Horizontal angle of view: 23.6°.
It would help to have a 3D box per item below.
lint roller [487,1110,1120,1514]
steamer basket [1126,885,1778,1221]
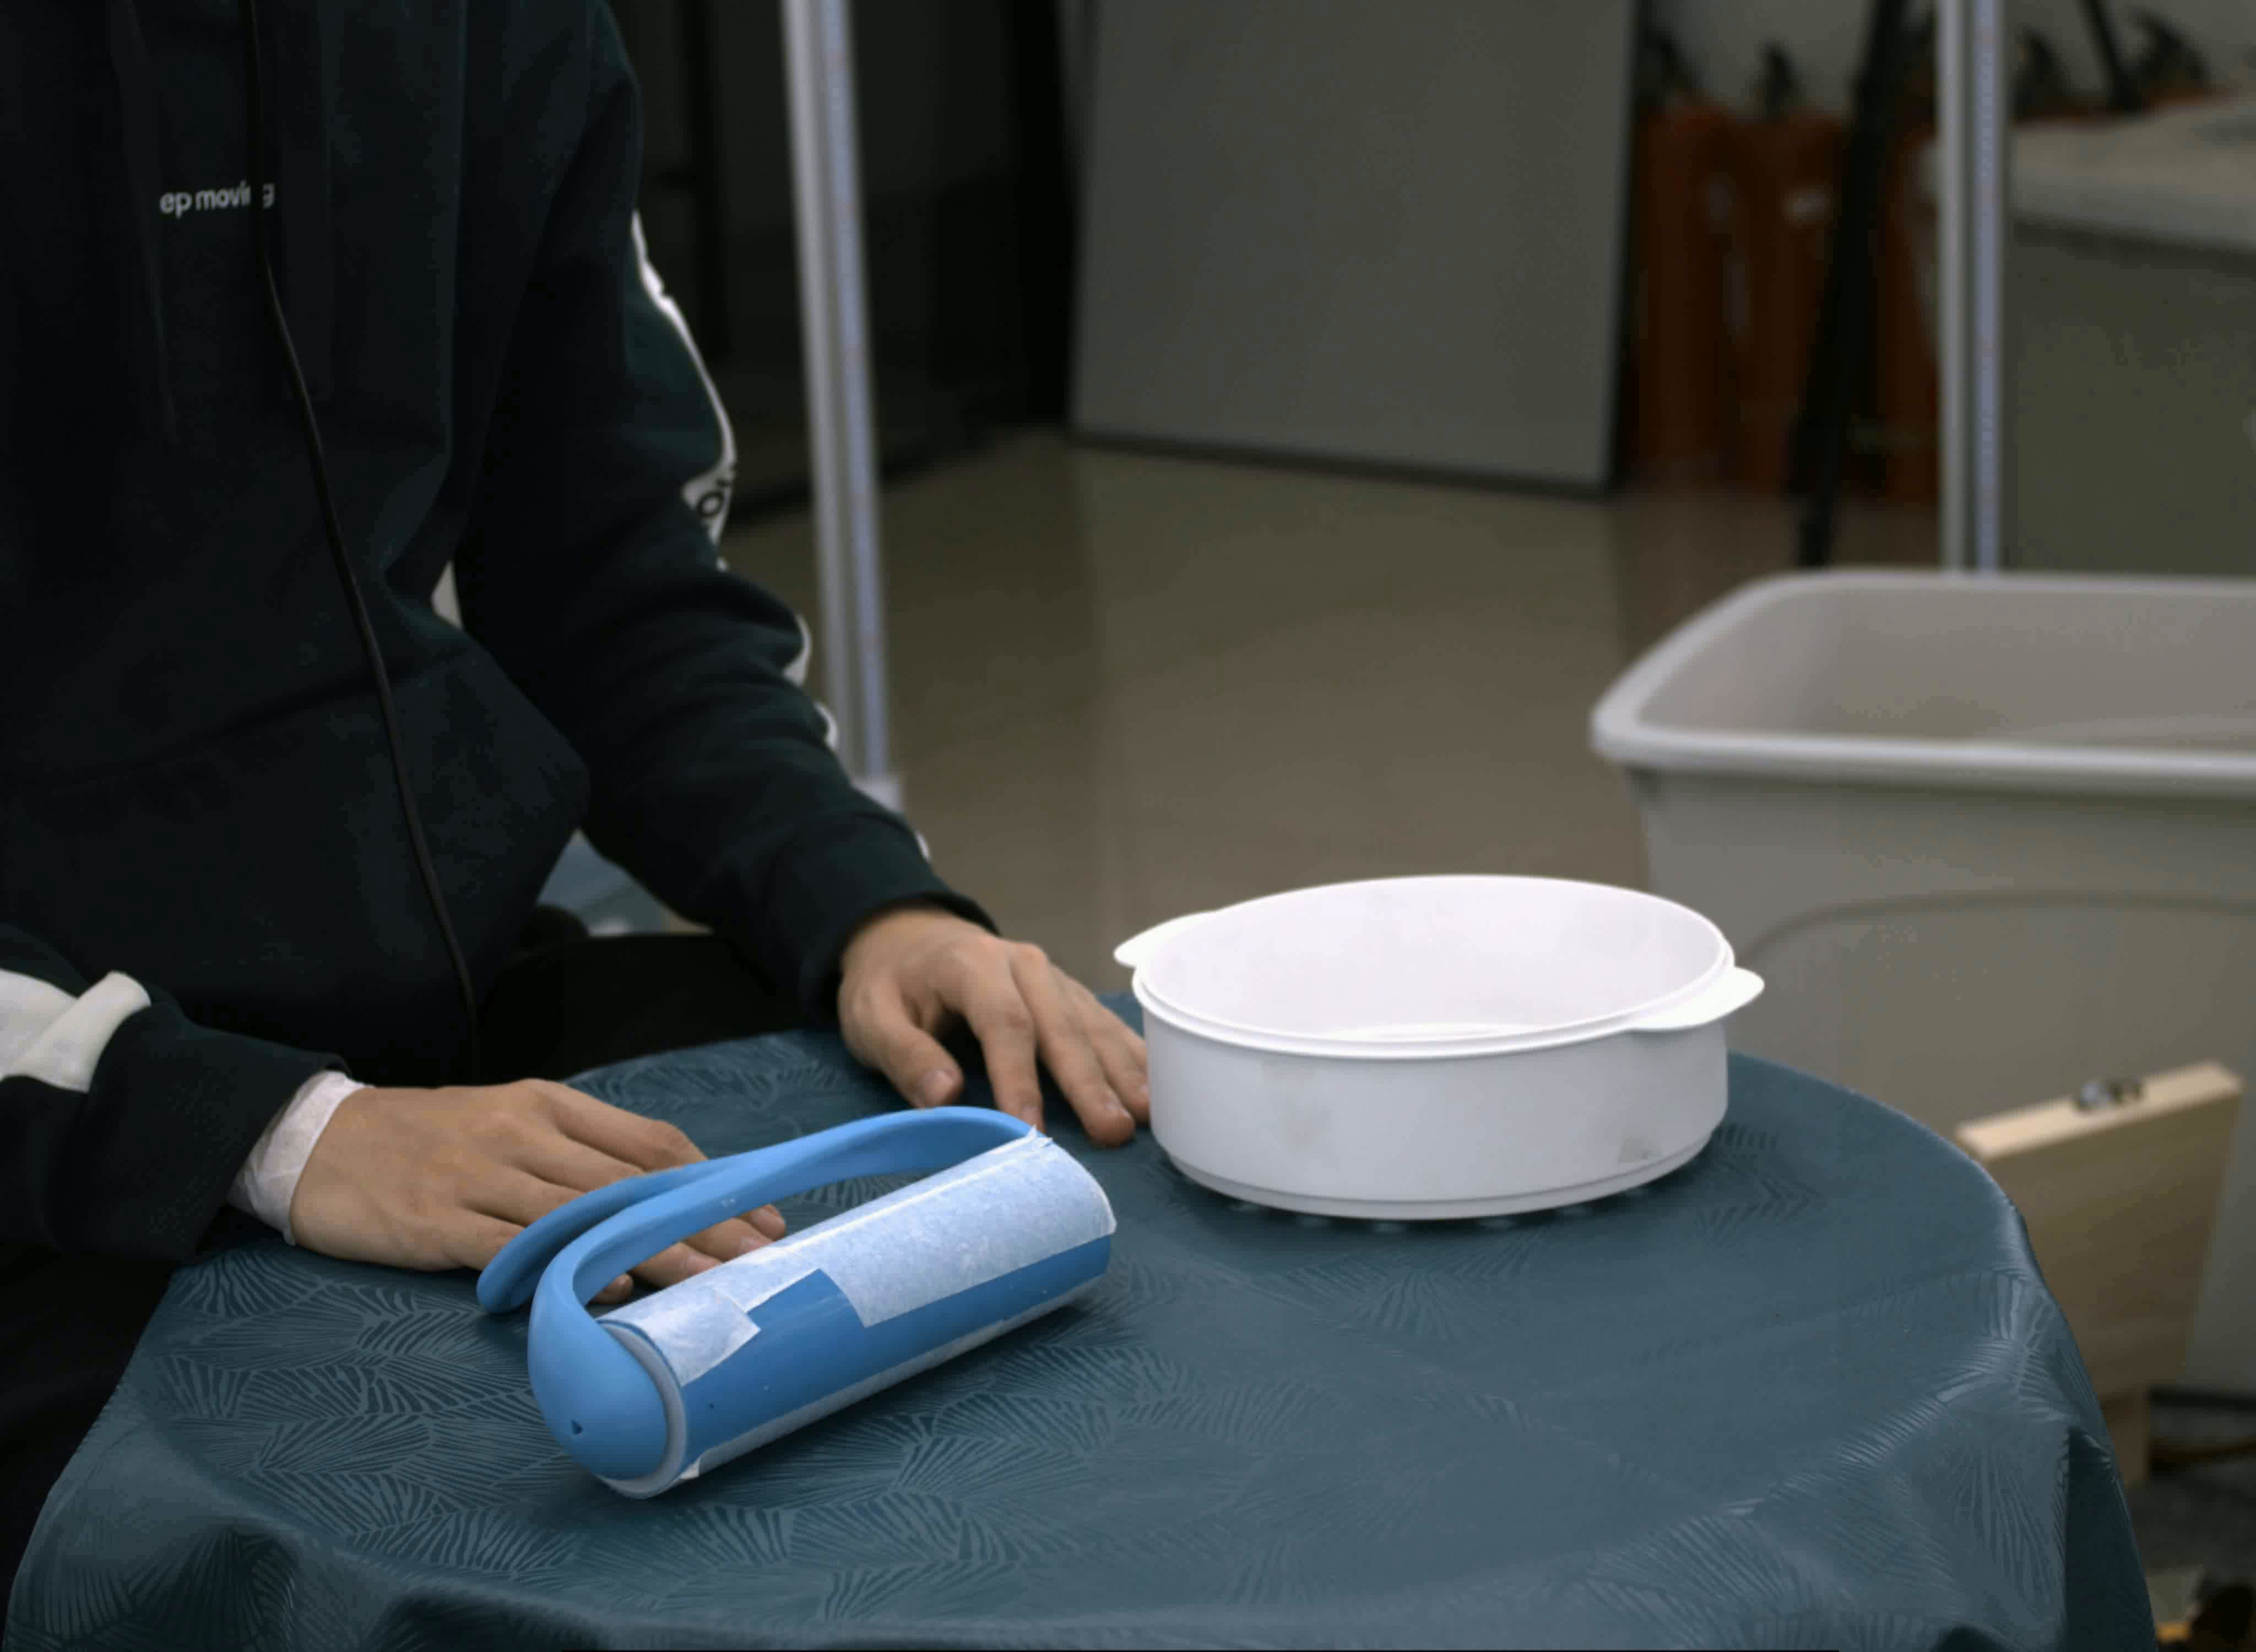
[{"bbox_3d":[-0.127,0.138,1.628,0.181,0.068,0.225,7,20,35],"label":"lint roller"},{"bbox_3d":[0.106,0.075,1.784,0.232,0.070,0.198,4,15,34],"label":"steamer basket"}]
